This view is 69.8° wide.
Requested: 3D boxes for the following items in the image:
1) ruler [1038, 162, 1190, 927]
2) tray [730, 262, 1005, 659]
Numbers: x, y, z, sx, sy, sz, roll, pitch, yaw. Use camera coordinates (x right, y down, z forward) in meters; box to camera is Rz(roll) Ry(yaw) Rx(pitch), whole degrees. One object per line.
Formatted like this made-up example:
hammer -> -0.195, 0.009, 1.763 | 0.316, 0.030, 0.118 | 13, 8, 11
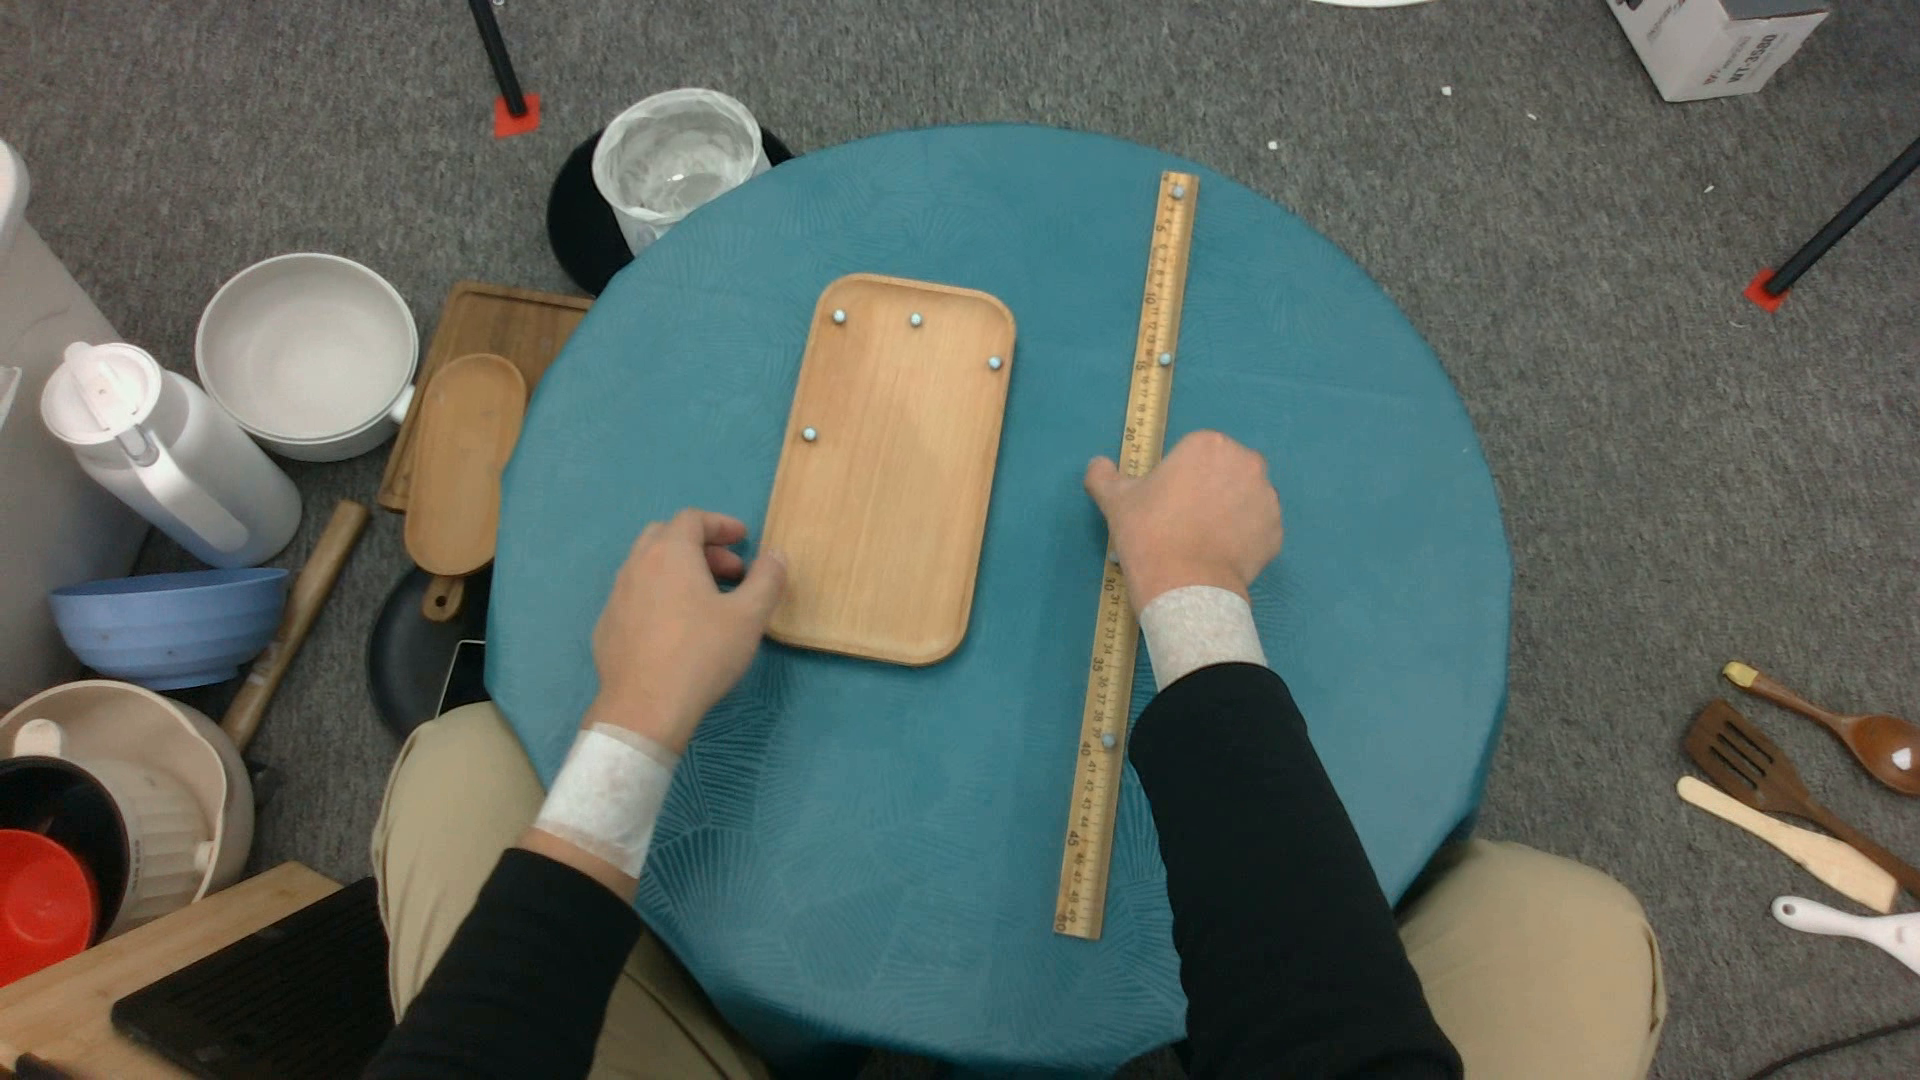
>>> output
ruler -> 0.097, -0.024, 0.822 | 0.027, 0.006, 0.502 | 9, 67, 4
tray -> -0.051, -0.052, 0.822 | 0.130, 0.023, 0.251 | 9, 68, 4
